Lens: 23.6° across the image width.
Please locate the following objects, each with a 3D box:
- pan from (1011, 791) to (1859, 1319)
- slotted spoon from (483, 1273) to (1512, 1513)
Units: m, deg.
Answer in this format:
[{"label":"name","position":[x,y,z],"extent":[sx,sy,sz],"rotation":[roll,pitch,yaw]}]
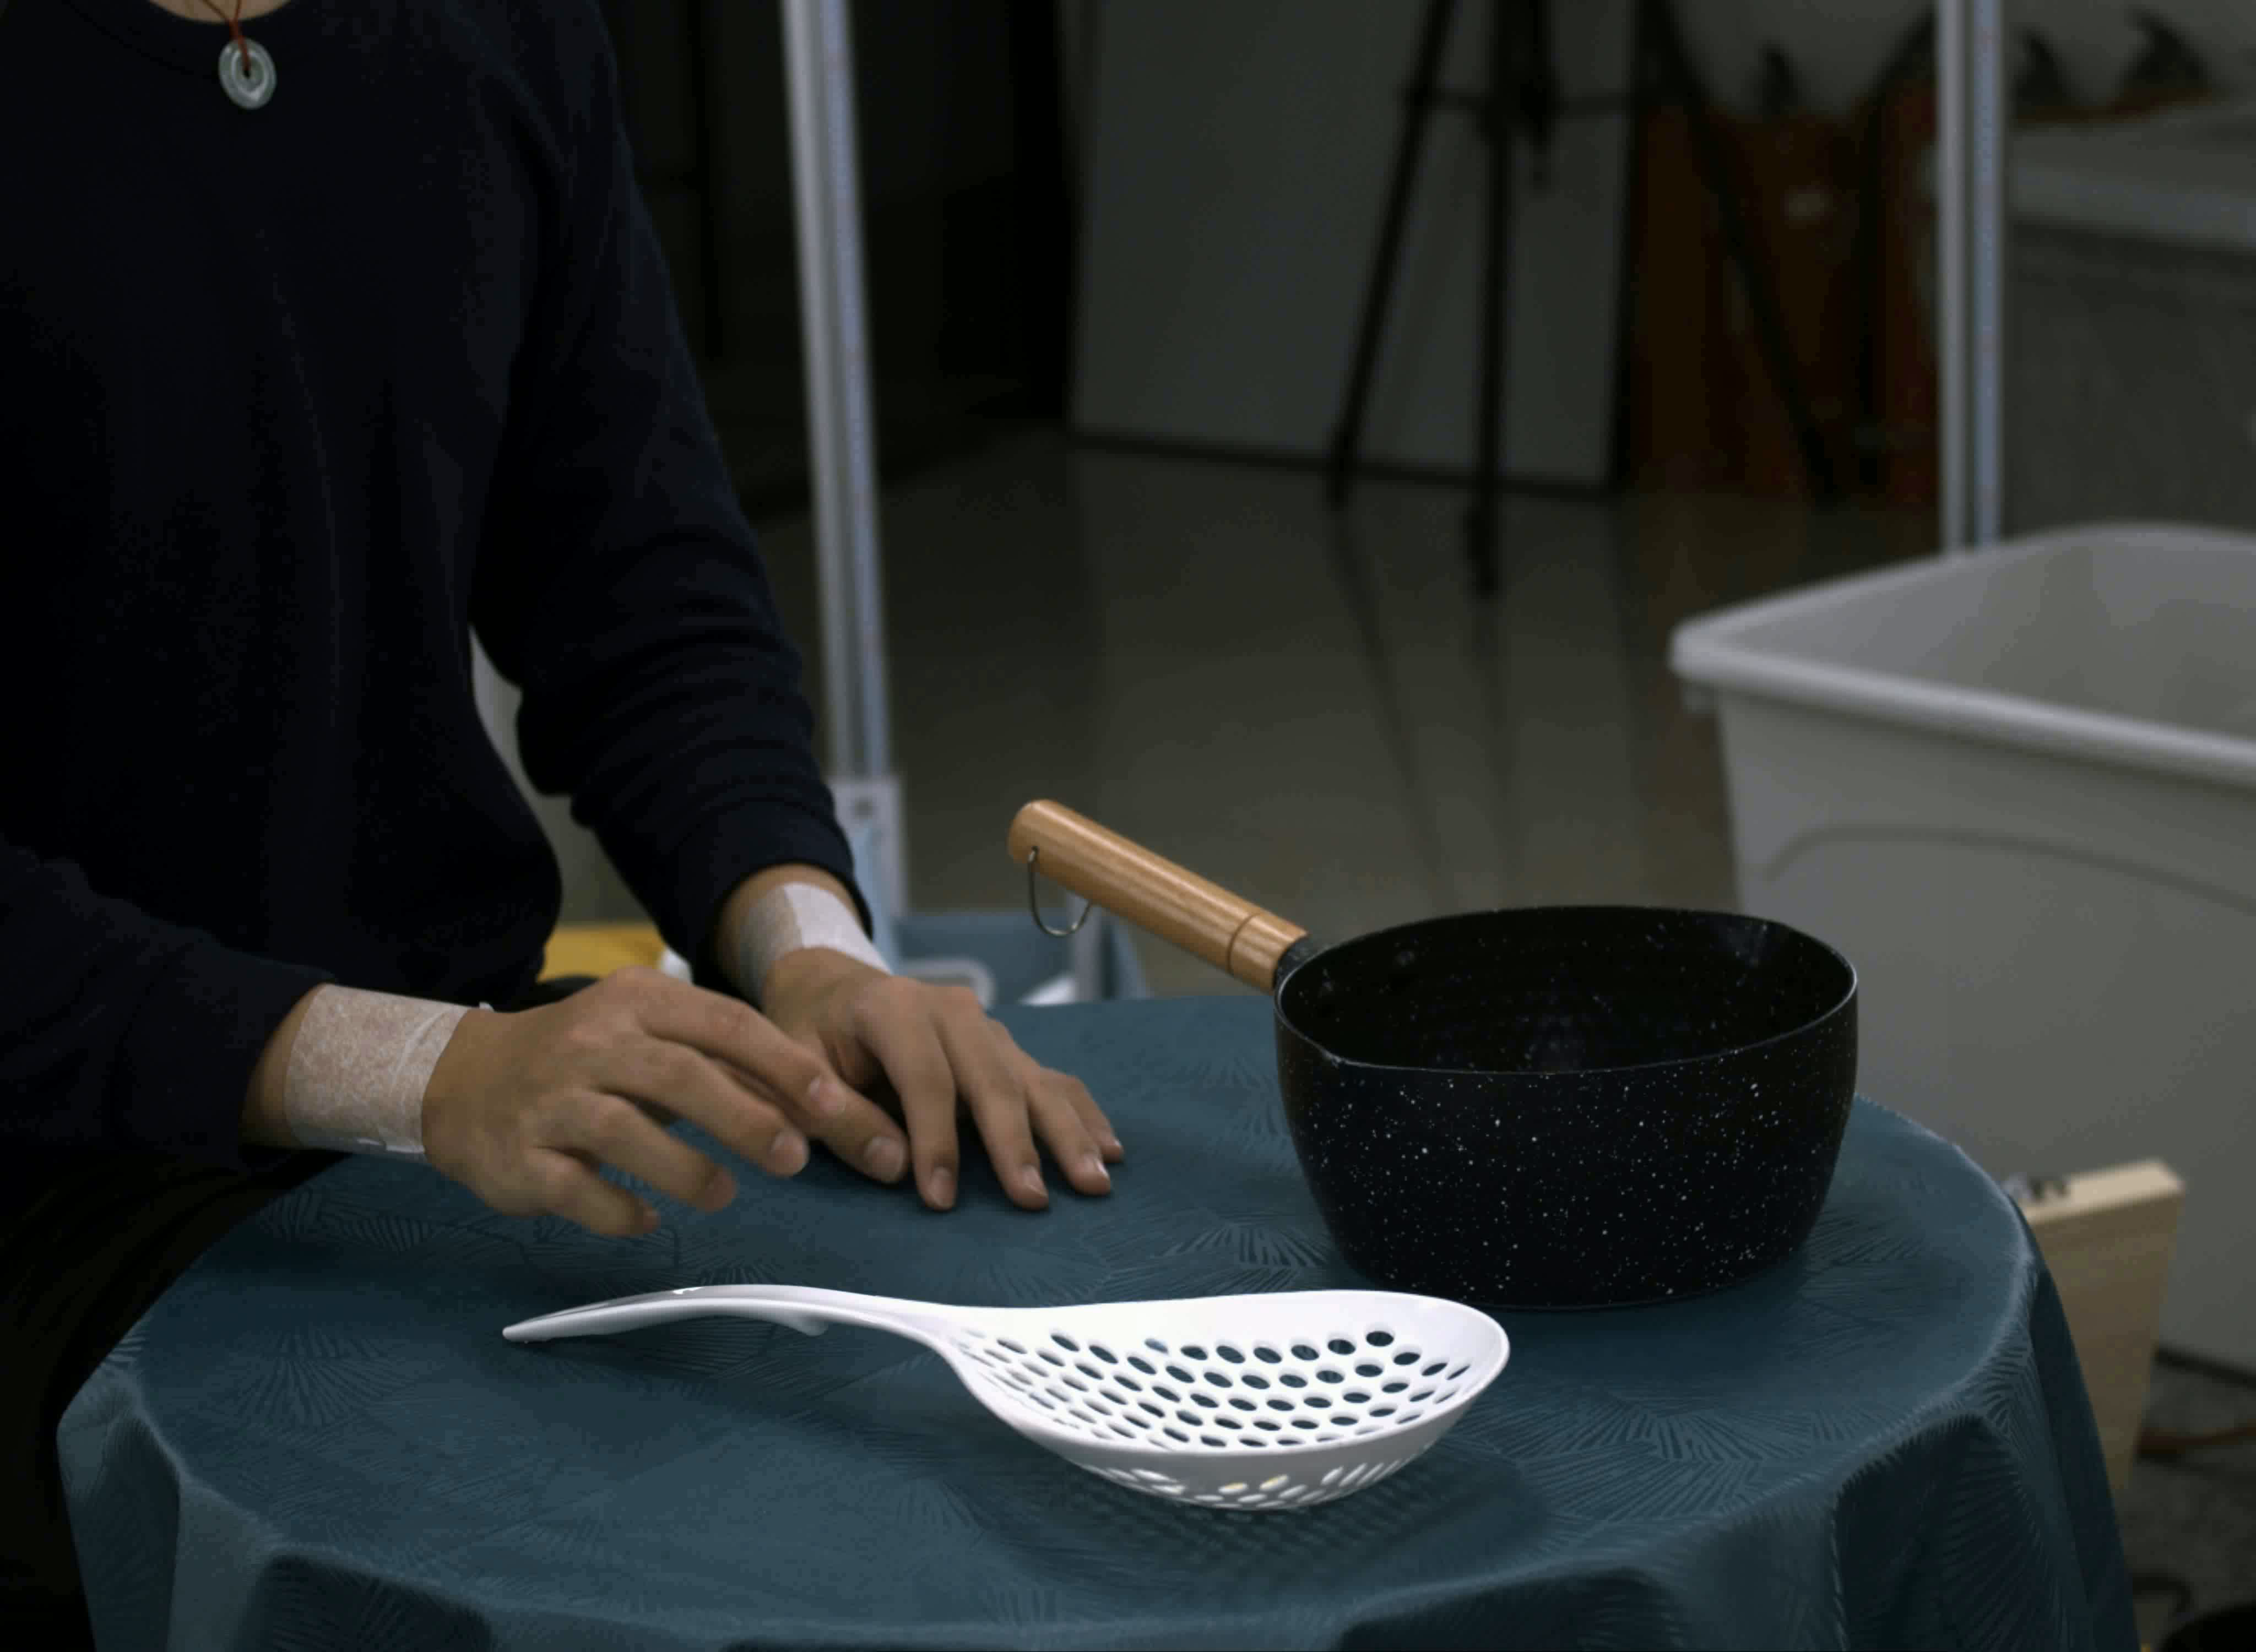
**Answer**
[{"label":"pan","position":[0.082,0.066,1.740],"extent":[0.203,0.109,0.346],"rotation":[-18,20,-41]},{"label":"slotted spoon","position":[-0.049,0.155,1.559],"extent":[0.350,0.051,0.134],"rotation":[8,19,35]}]
